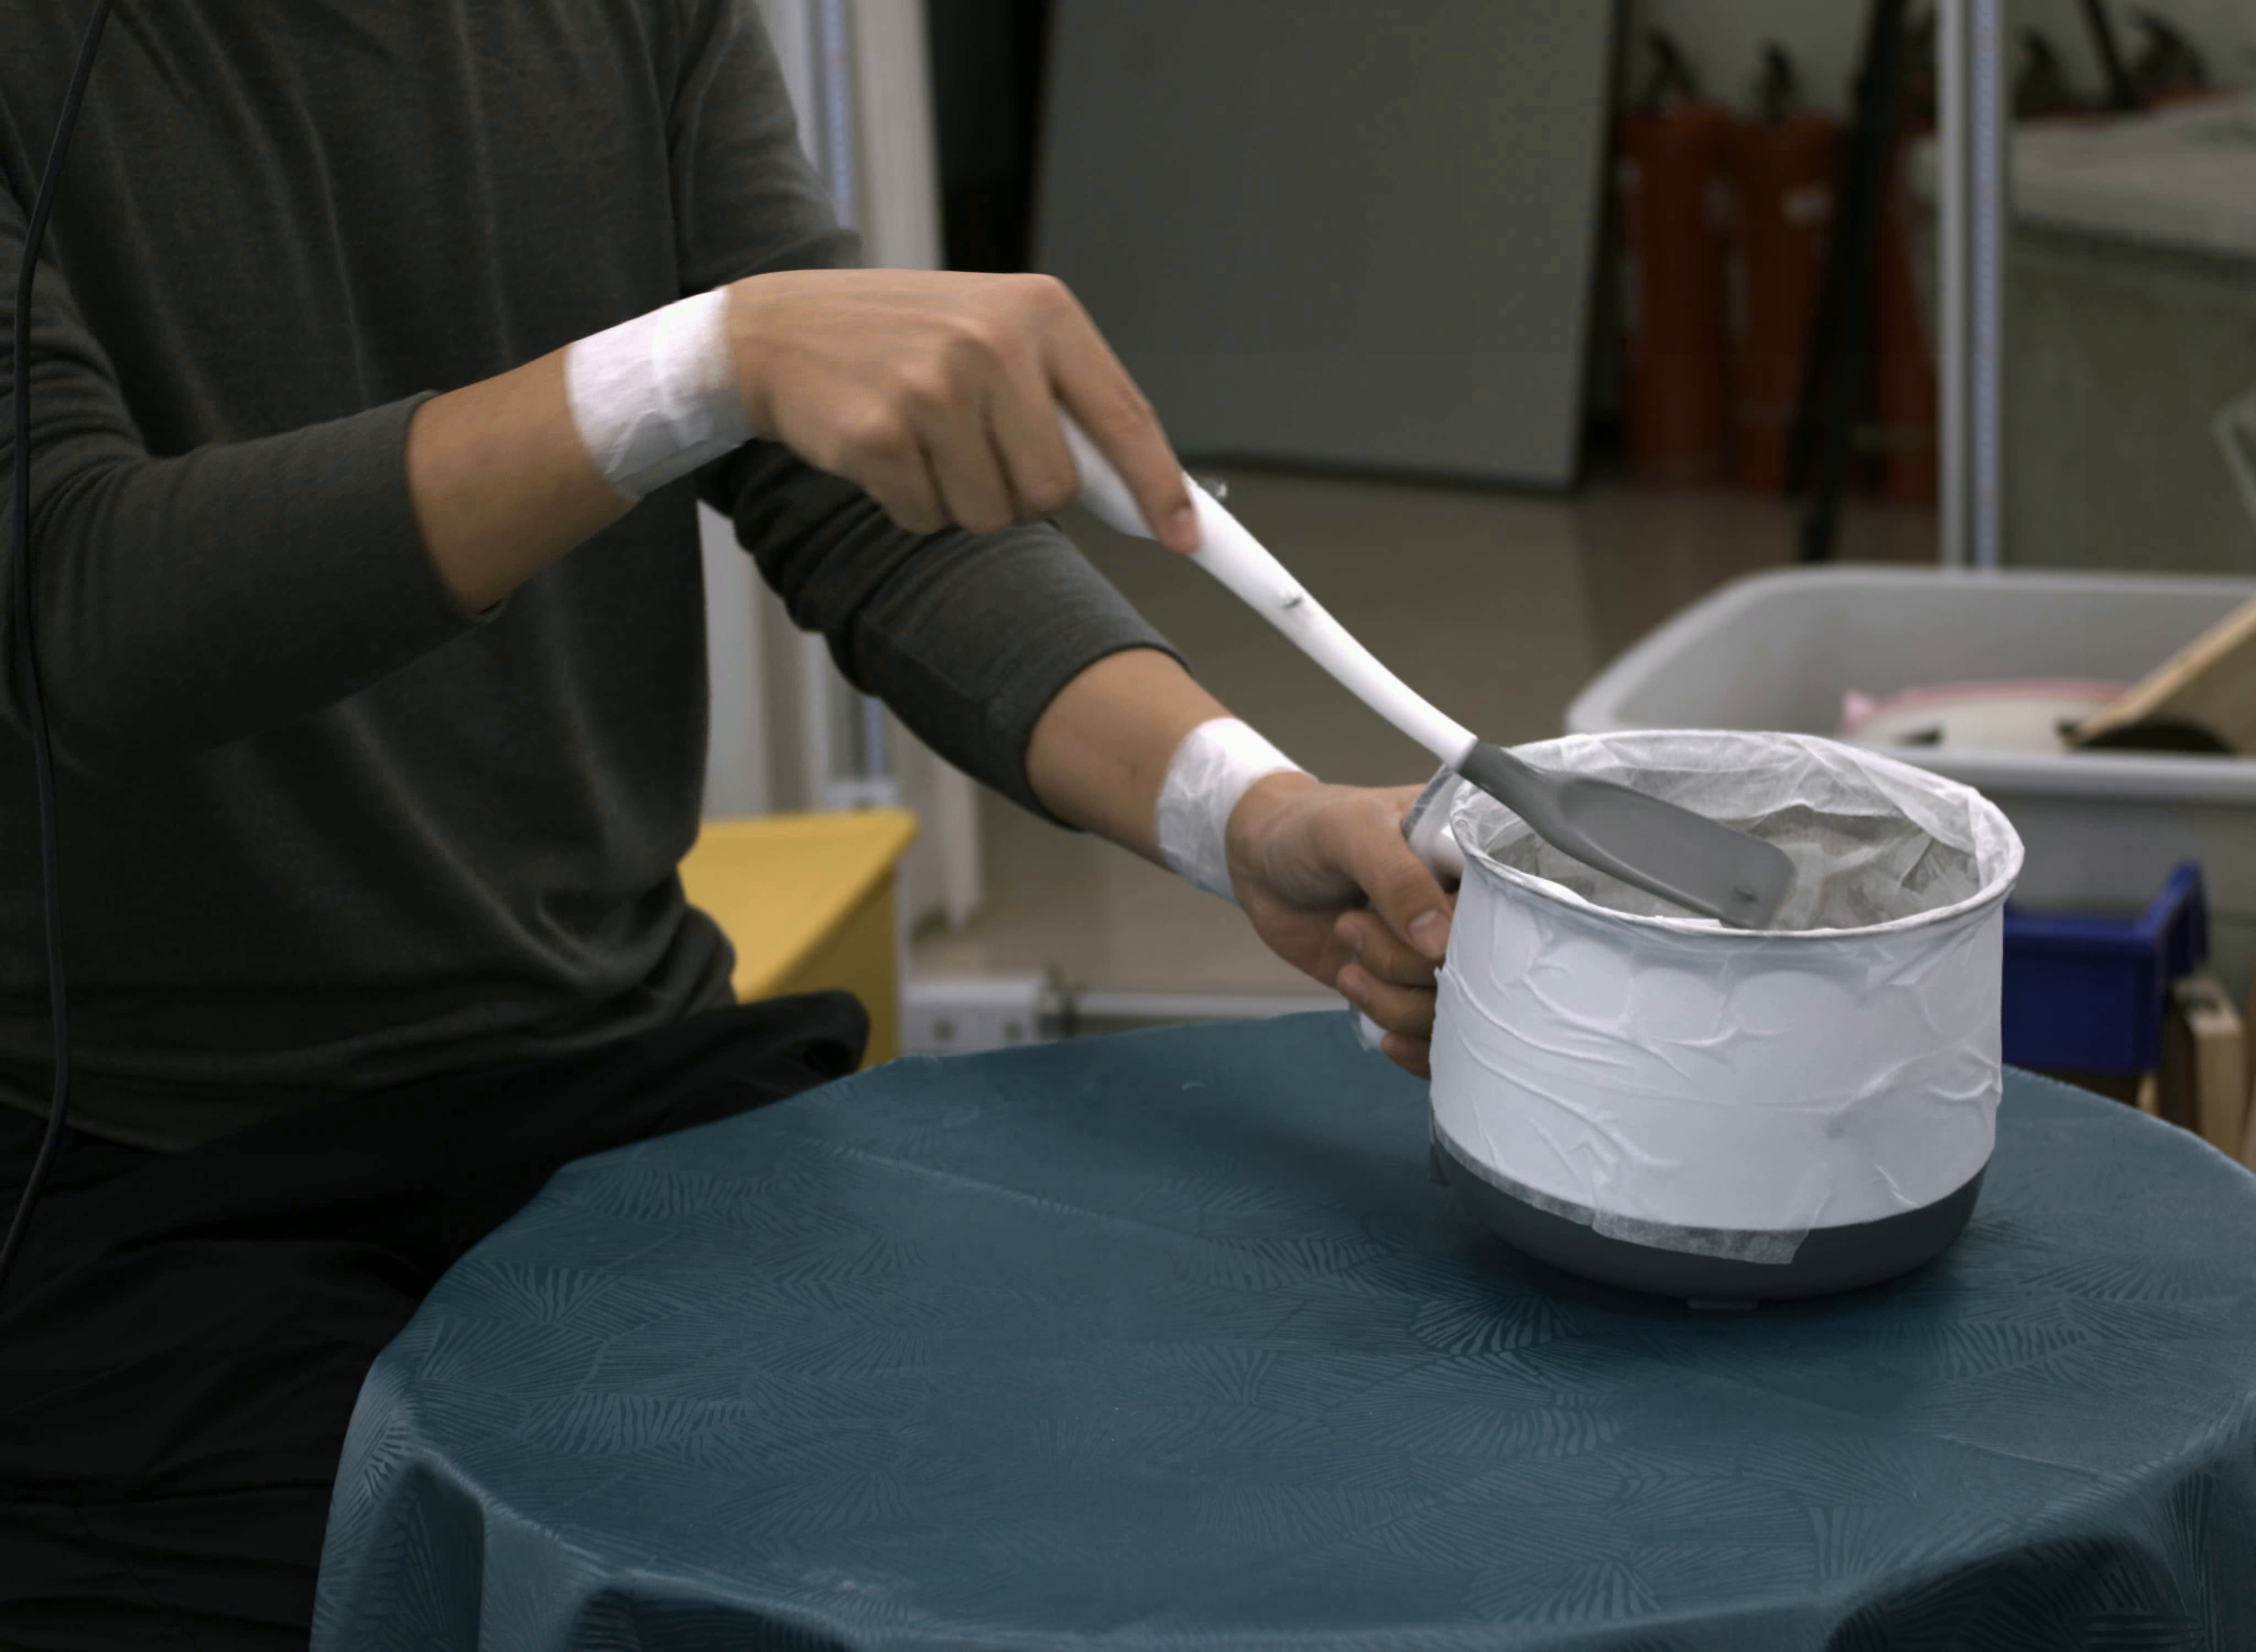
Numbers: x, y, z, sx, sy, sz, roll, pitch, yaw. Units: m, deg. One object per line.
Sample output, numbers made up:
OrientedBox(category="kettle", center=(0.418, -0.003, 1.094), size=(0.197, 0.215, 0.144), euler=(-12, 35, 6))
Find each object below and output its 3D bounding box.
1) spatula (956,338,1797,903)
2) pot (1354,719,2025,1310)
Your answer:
OrientedBox(category="spatula", center=(0.074, -0.054, 1.617), size=(0.286, 0.032, 0.058), euler=(34, 31, 4))
OrientedBox(category="pot", center=(0.163, 0.050, 1.679), size=(0.175, 0.138, 0.236), euler=(-17, 26, -42))
